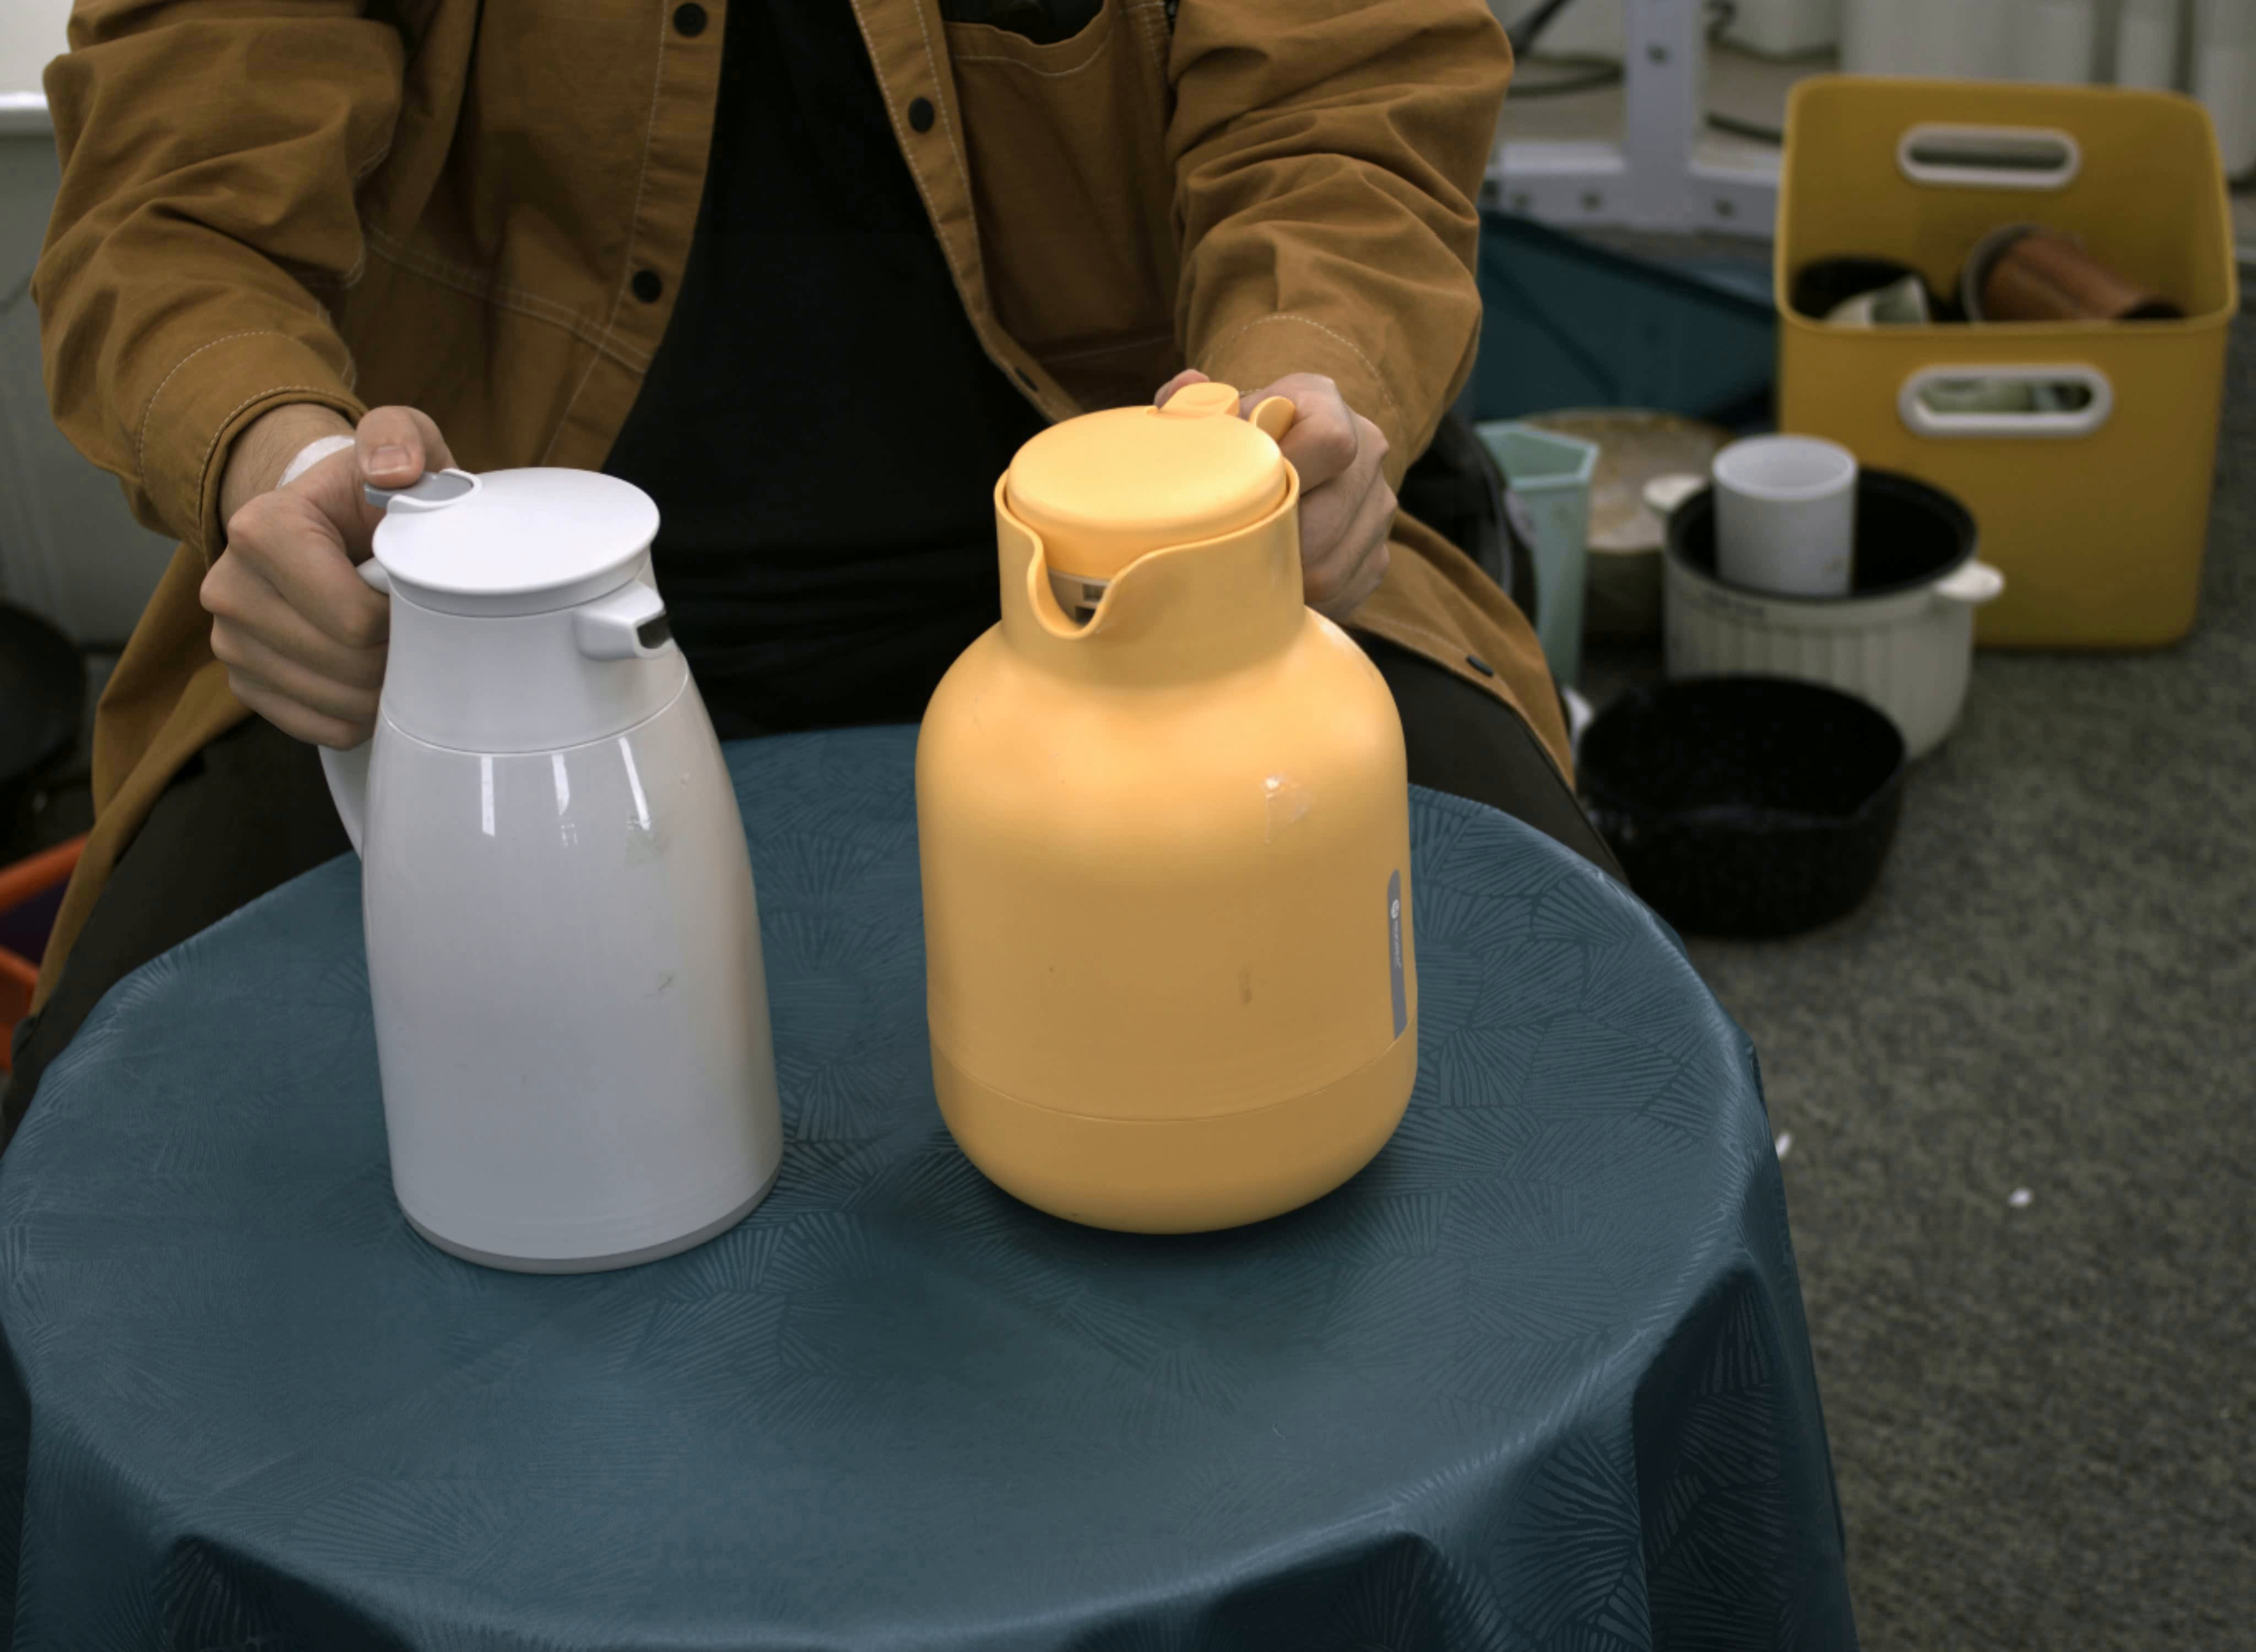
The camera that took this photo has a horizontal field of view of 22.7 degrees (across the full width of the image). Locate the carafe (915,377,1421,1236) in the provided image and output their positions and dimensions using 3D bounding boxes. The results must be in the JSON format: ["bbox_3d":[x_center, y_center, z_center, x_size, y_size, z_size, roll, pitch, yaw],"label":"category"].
[{"bbox_3d":[0.020,-0.015,1.844,0.162,0.257,0.206,9,30,21],"label":"carafe"}]

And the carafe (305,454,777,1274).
[{"bbox_3d":[-0.203,0.002,1.842,0.167,0.246,0.134,17,33,36],"label":"carafe"}]
